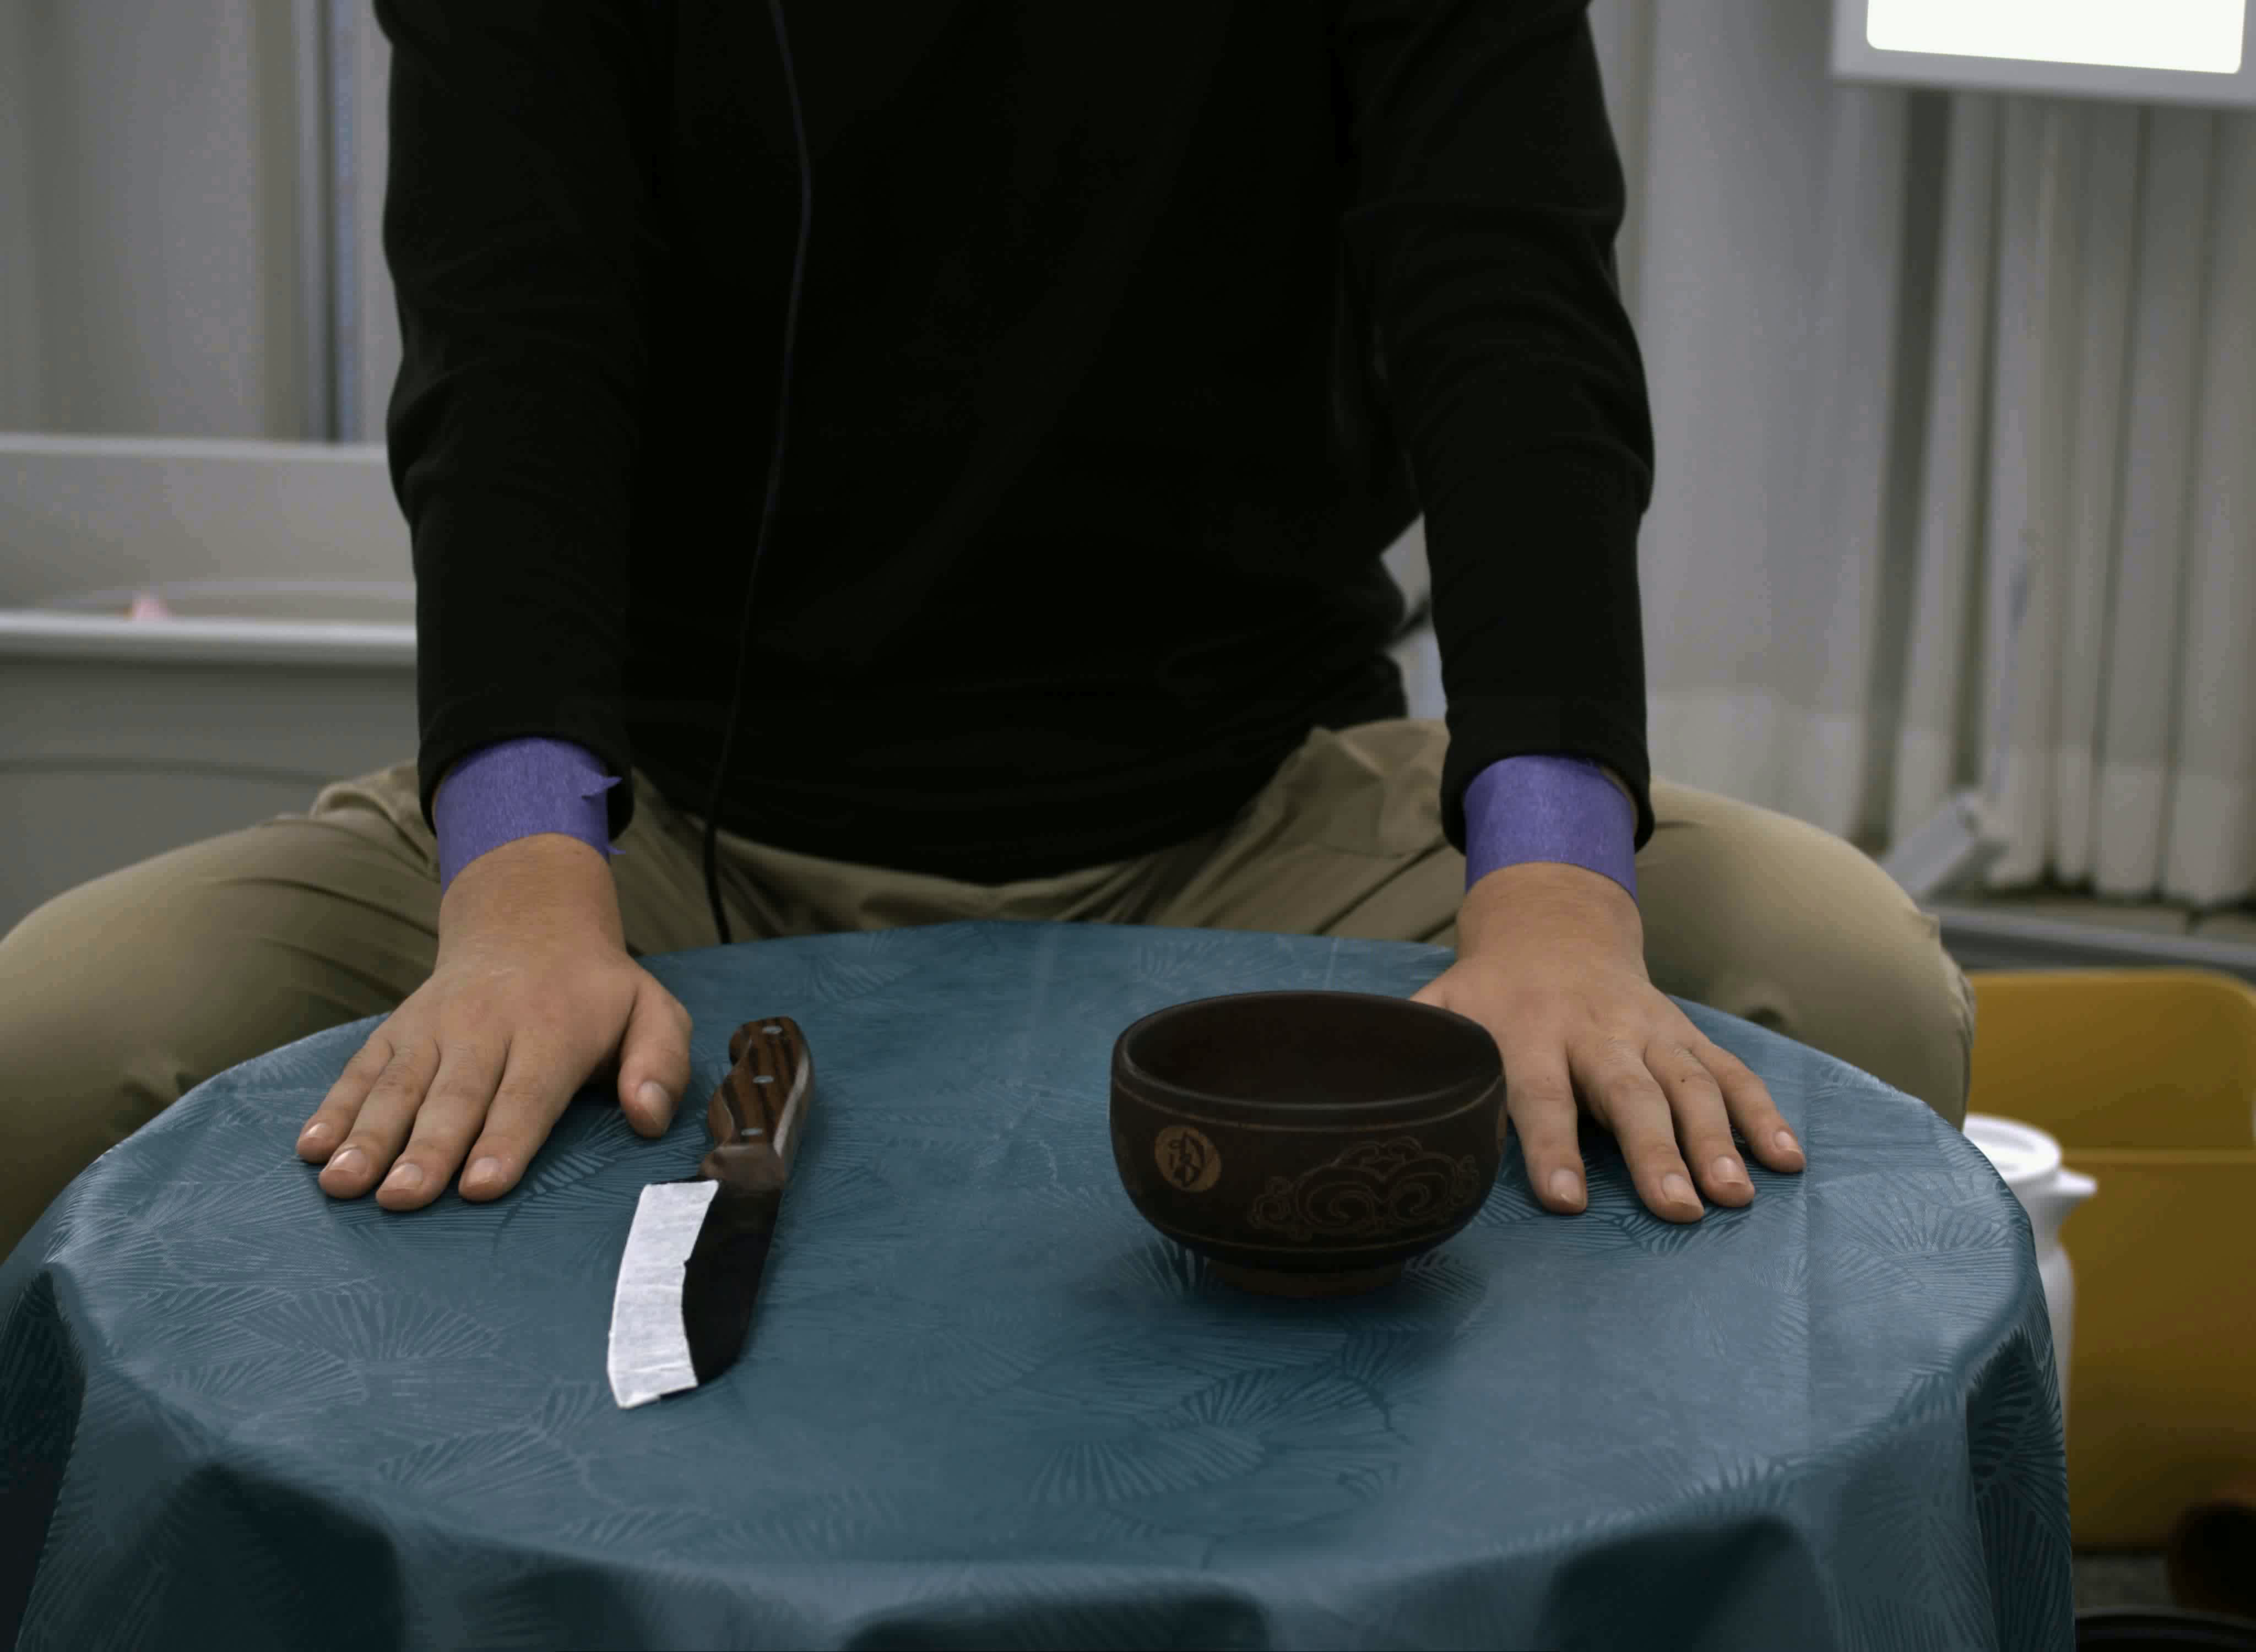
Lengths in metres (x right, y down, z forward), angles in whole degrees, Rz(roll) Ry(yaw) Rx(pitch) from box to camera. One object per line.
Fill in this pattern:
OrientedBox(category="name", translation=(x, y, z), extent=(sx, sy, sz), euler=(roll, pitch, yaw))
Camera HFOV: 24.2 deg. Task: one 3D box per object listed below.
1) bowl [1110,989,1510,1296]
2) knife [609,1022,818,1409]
OrientedBox(category="bowl", translation=(0.054, 0.096, 1.550), extent=(0.117, 0.070, 0.117), euler=(0, 15, 1))
OrientedBox(category="knife", translation=(-0.123, 0.116, 1.580), extent=(0.050, 0.020, 0.288), euler=(-3, 18, 5))
